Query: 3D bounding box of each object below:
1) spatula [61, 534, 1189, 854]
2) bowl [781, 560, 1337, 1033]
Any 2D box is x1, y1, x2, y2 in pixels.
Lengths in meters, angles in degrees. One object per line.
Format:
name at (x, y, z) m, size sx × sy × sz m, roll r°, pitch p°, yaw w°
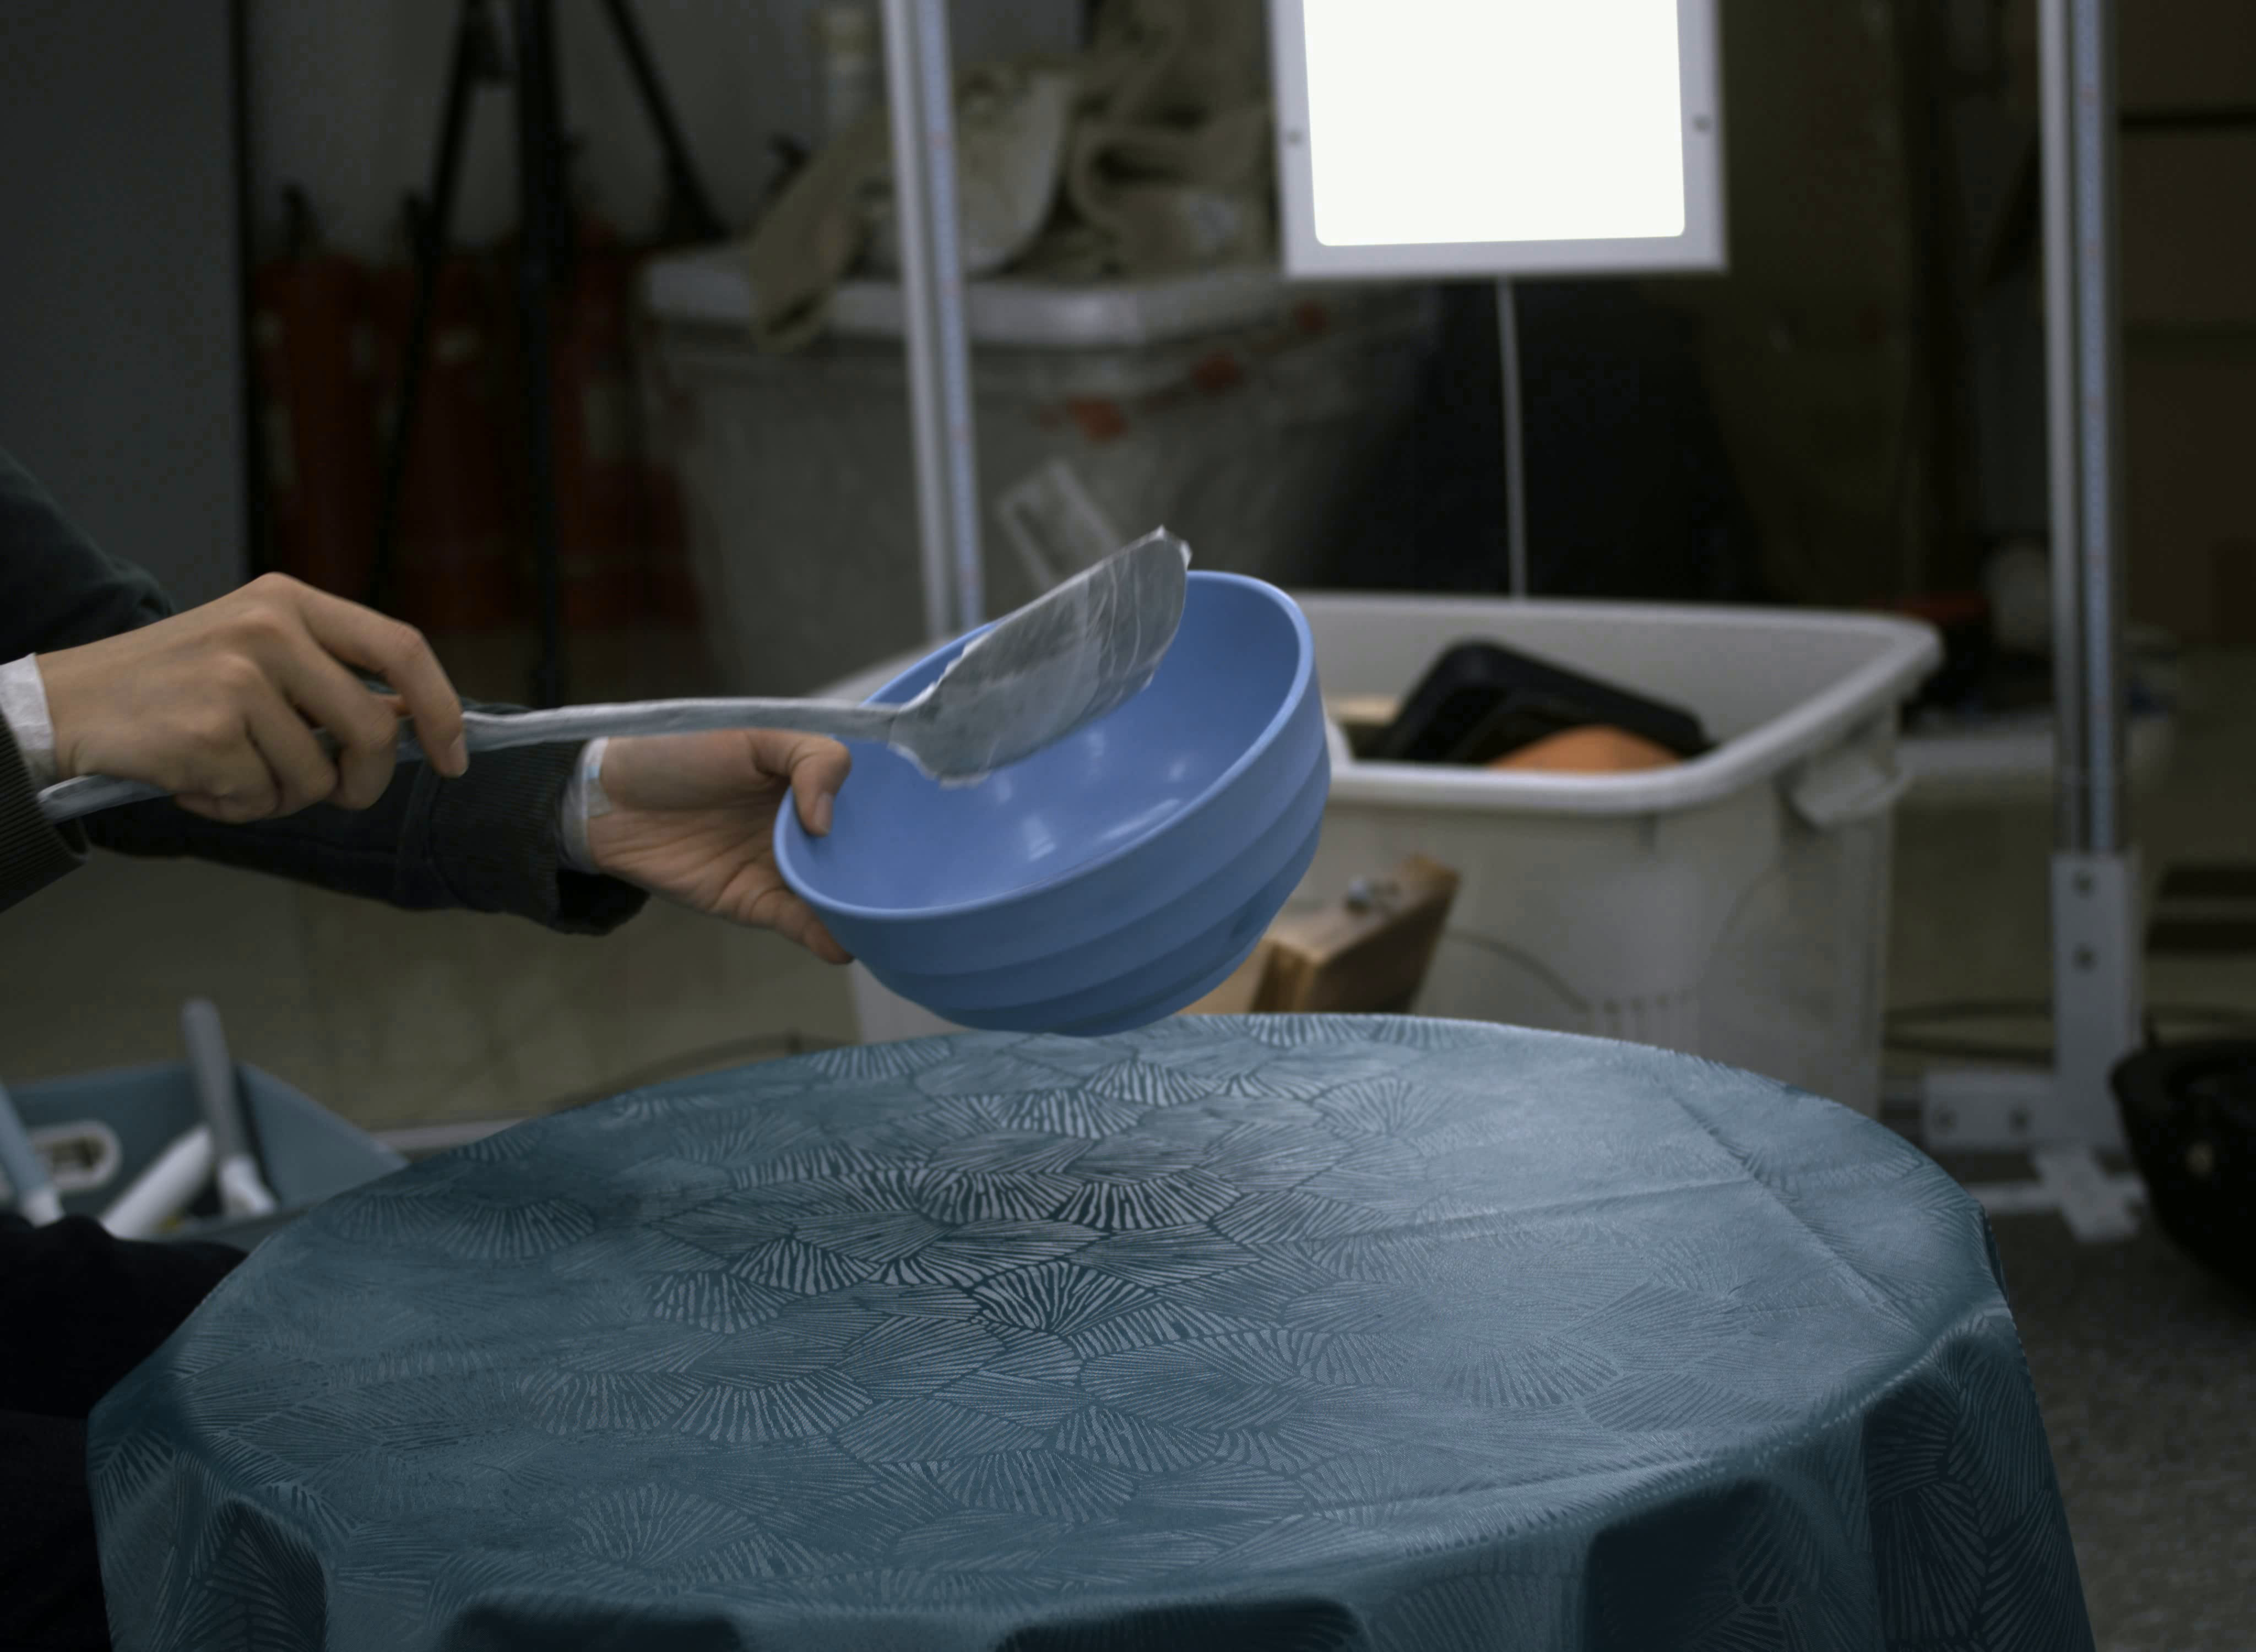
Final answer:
spatula at (-0.152, -0.033, 1.720) m, size 0.360 × 0.045 × 0.099 m, roll -6°, pitch -31°, yaw -12°
bowl at (-0.010, 0.005, 1.865) m, size 0.198 × 0.095 × 0.196 m, roll -20°, pitch 30°, yaw 11°
